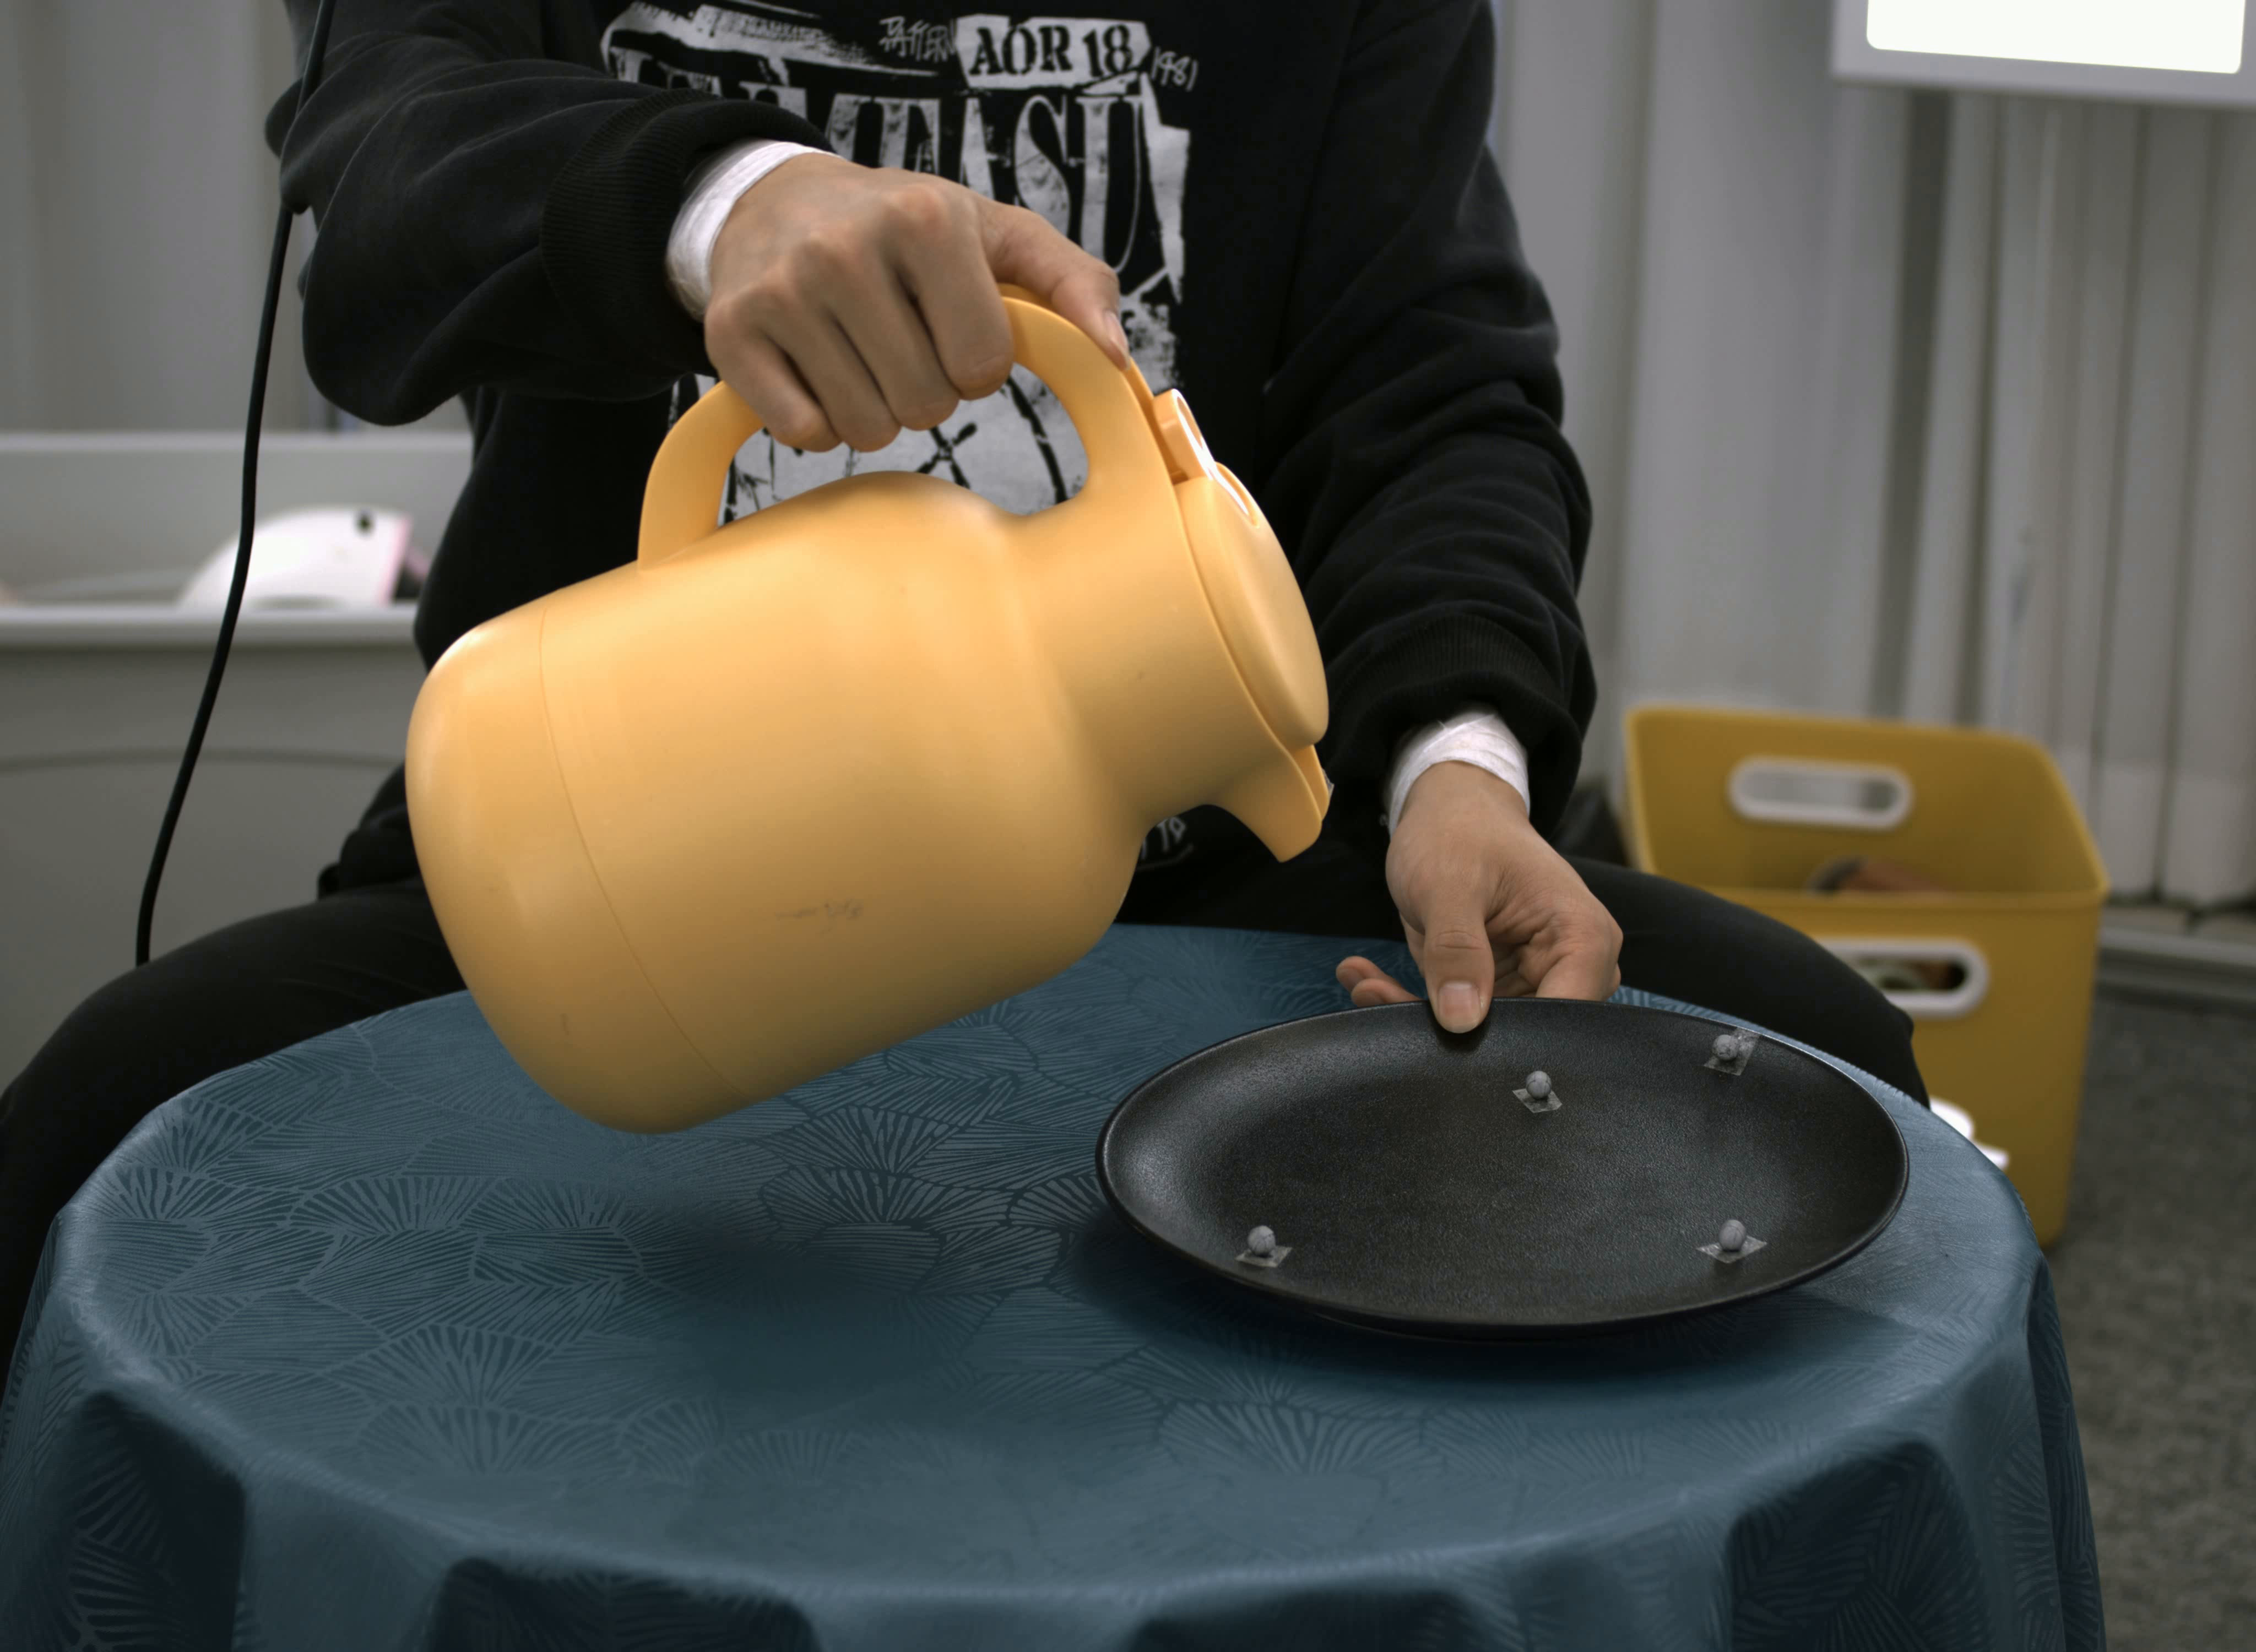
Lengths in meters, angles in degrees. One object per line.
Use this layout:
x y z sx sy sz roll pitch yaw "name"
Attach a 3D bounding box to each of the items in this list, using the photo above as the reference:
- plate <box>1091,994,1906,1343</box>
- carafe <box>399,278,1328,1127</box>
0.111 0.106 1.578 0.243 0.023 0.243 0 20 1 "plate"
-0.079 -0.040 1.535 0.259 0.203 0.163 -21 9 9 "carafe"
